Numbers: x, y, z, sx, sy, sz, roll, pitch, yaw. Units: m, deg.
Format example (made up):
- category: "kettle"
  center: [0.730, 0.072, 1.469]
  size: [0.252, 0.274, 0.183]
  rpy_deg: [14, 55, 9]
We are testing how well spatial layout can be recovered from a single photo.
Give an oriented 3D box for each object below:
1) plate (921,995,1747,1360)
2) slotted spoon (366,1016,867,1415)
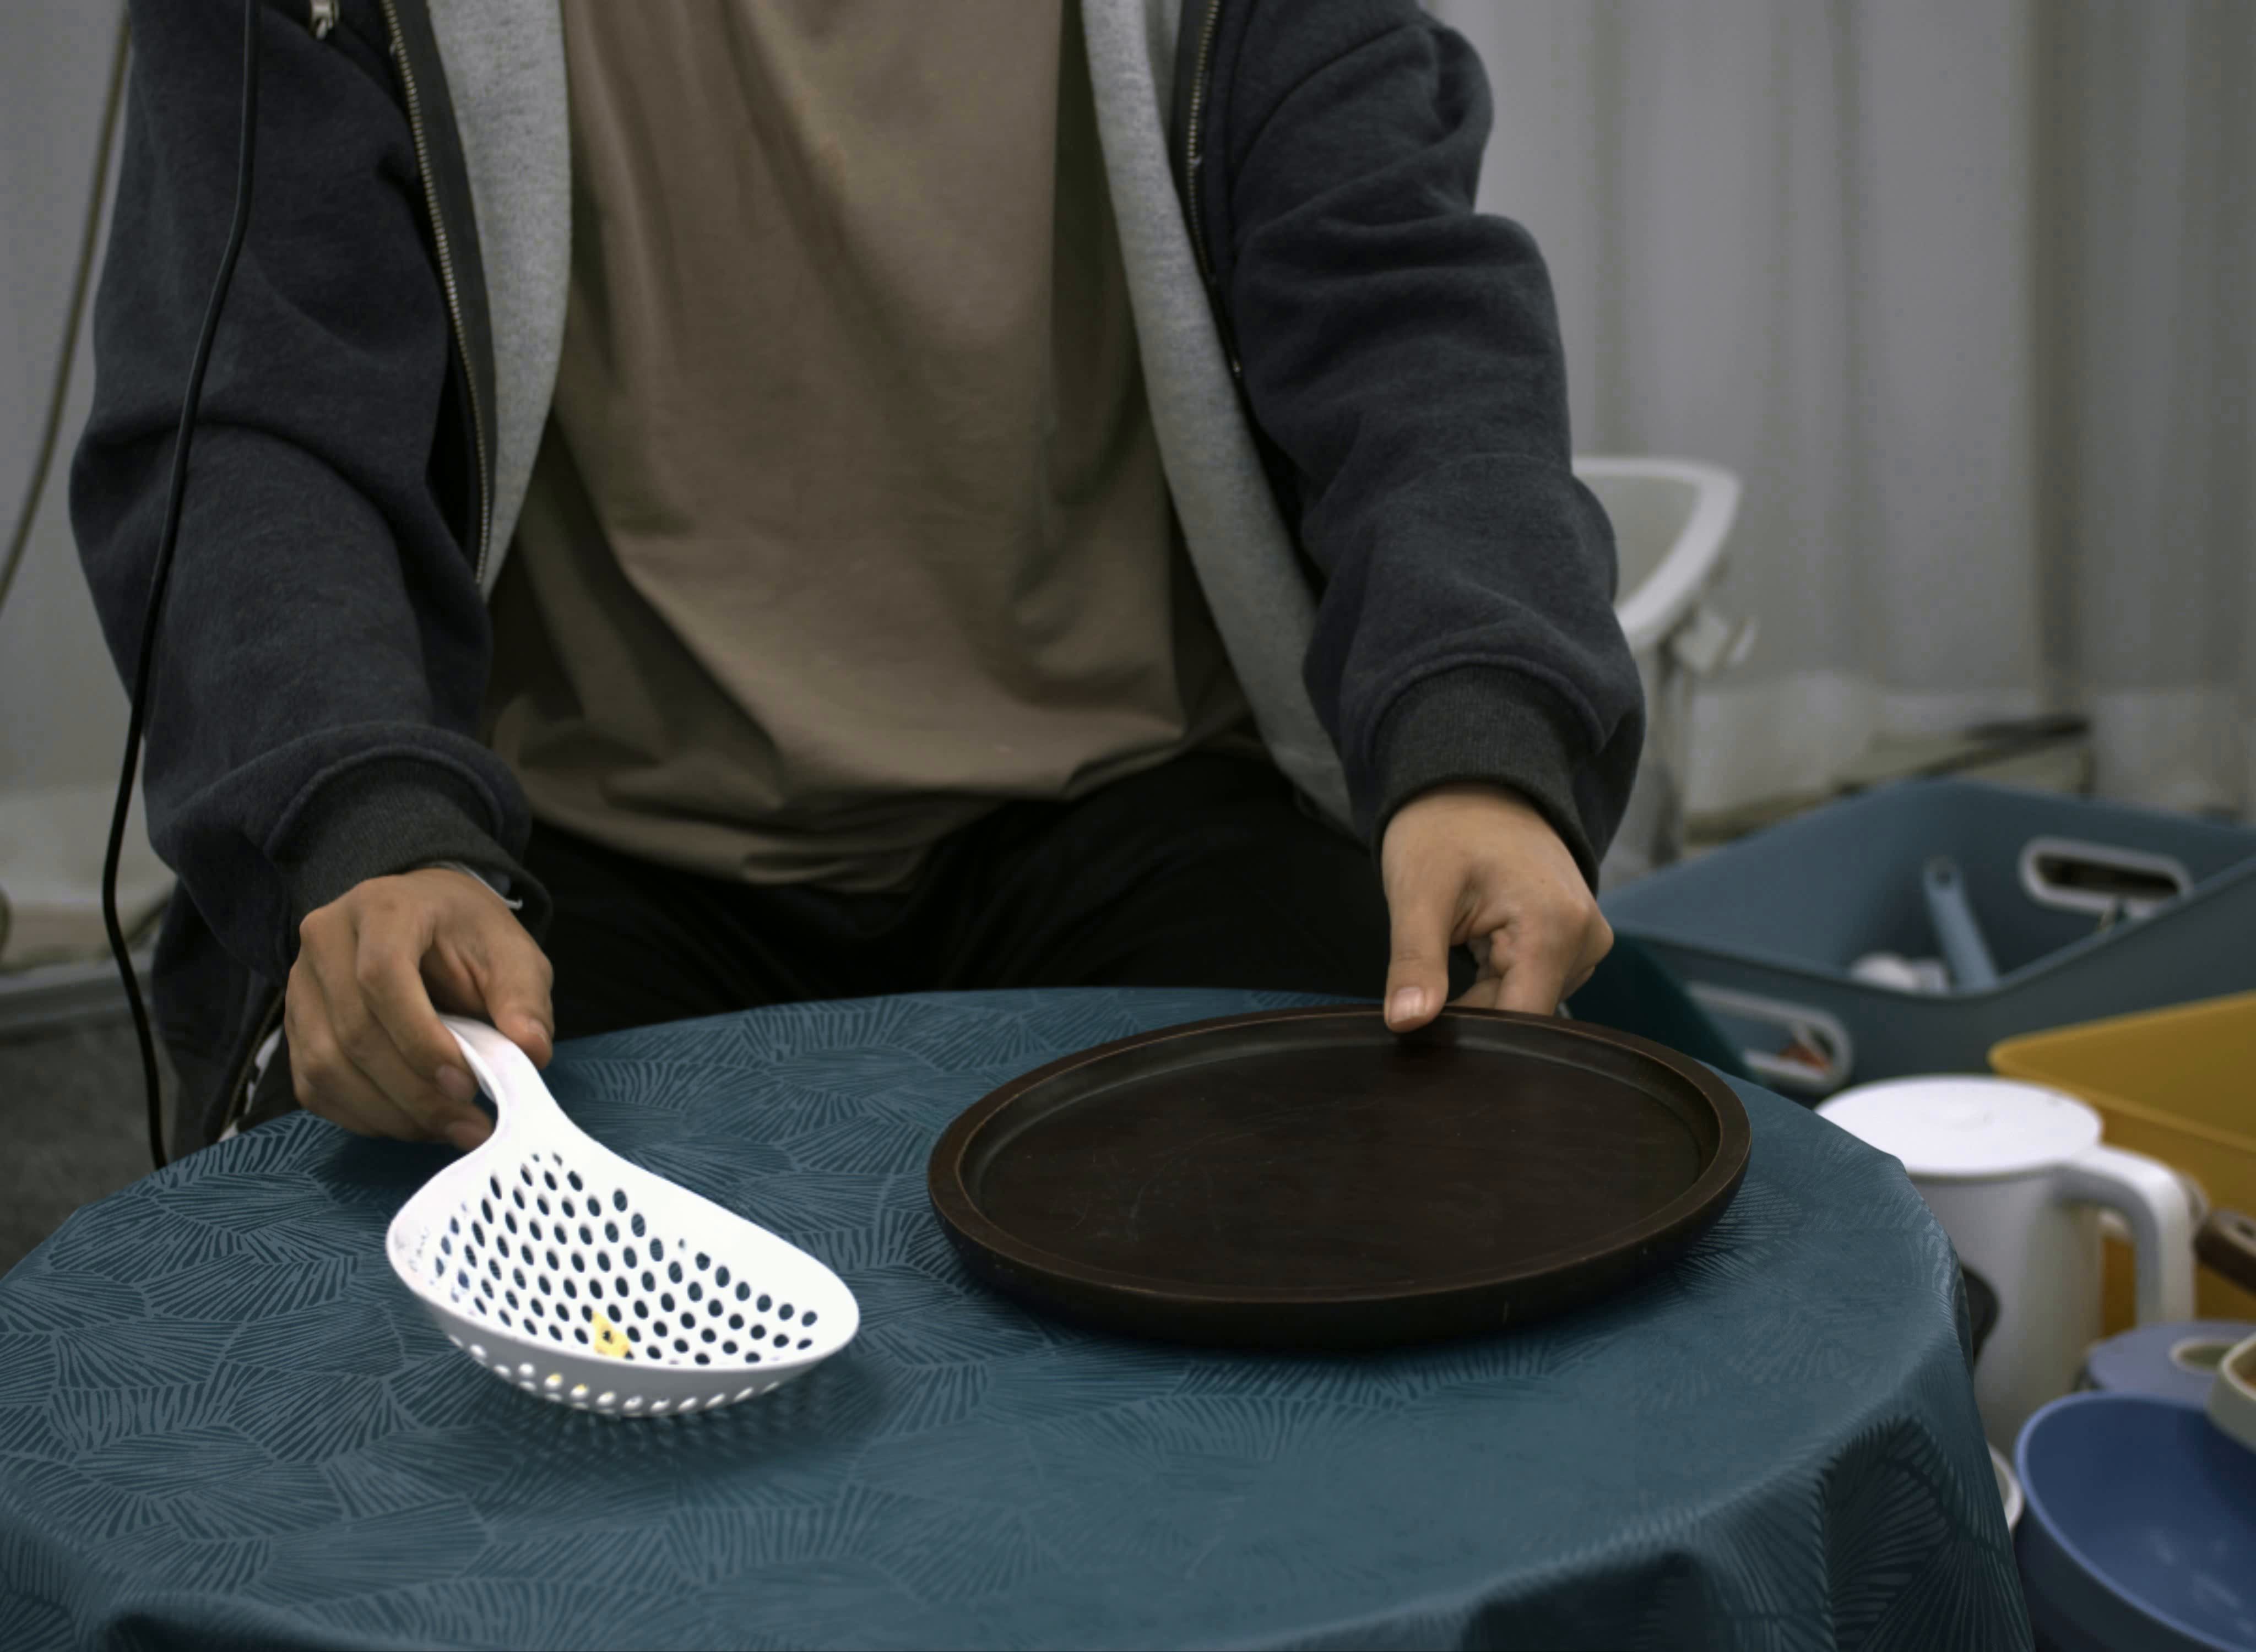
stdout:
- category: "plate"
  center: [0.063, 0.106, 1.672]
  size: [0.254, 0.029, 0.257]
  rpy_deg: [-5, 18, 1]
- category: "slotted spoon"
  center: [-0.180, 0.104, 1.653]
  size: [0.136, 0.050, 0.352]
  rpy_deg: [3, 19, -20]
